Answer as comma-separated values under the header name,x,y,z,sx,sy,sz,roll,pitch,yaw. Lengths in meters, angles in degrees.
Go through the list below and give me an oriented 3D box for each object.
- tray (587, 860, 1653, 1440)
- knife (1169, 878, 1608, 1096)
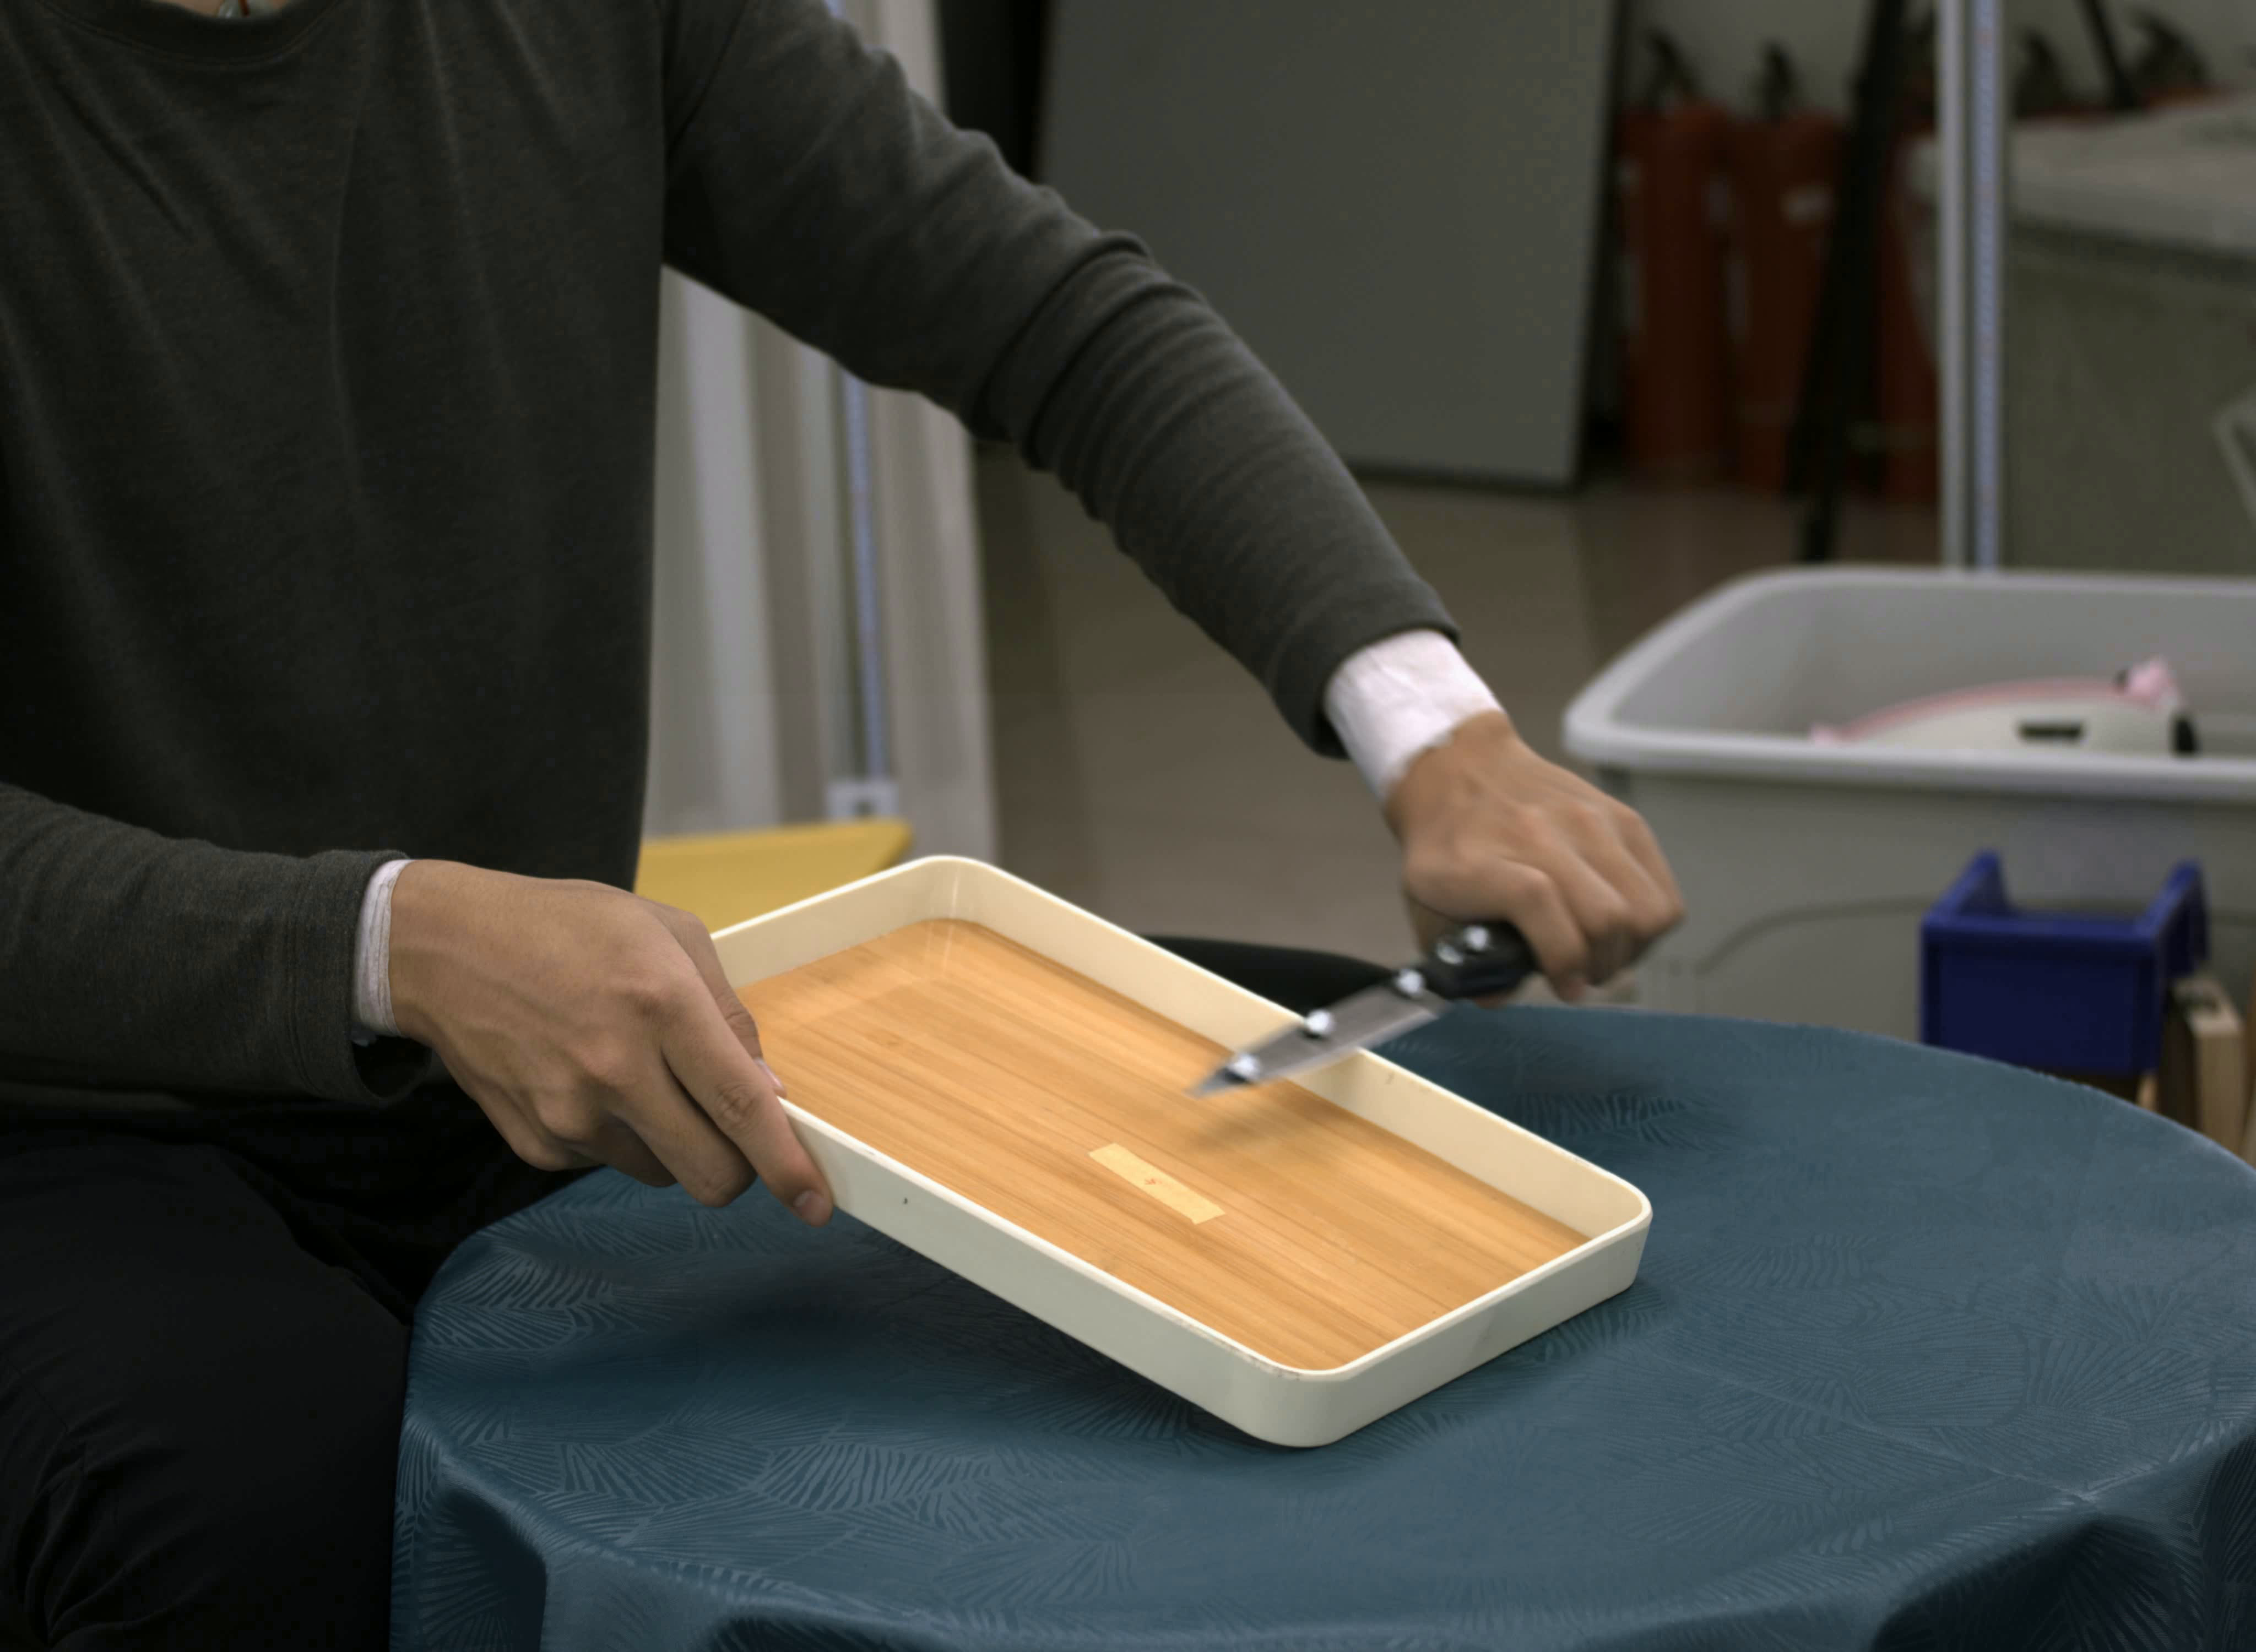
name,x,y,z,sx,sy,sz,roll,pitch,yaw
tray,-0.004,0.094,1.666,0.303,0.028,0.188,26,28,34
knife,0.084,0.053,1.755,0.024,0.016,0.234,23,29,33
